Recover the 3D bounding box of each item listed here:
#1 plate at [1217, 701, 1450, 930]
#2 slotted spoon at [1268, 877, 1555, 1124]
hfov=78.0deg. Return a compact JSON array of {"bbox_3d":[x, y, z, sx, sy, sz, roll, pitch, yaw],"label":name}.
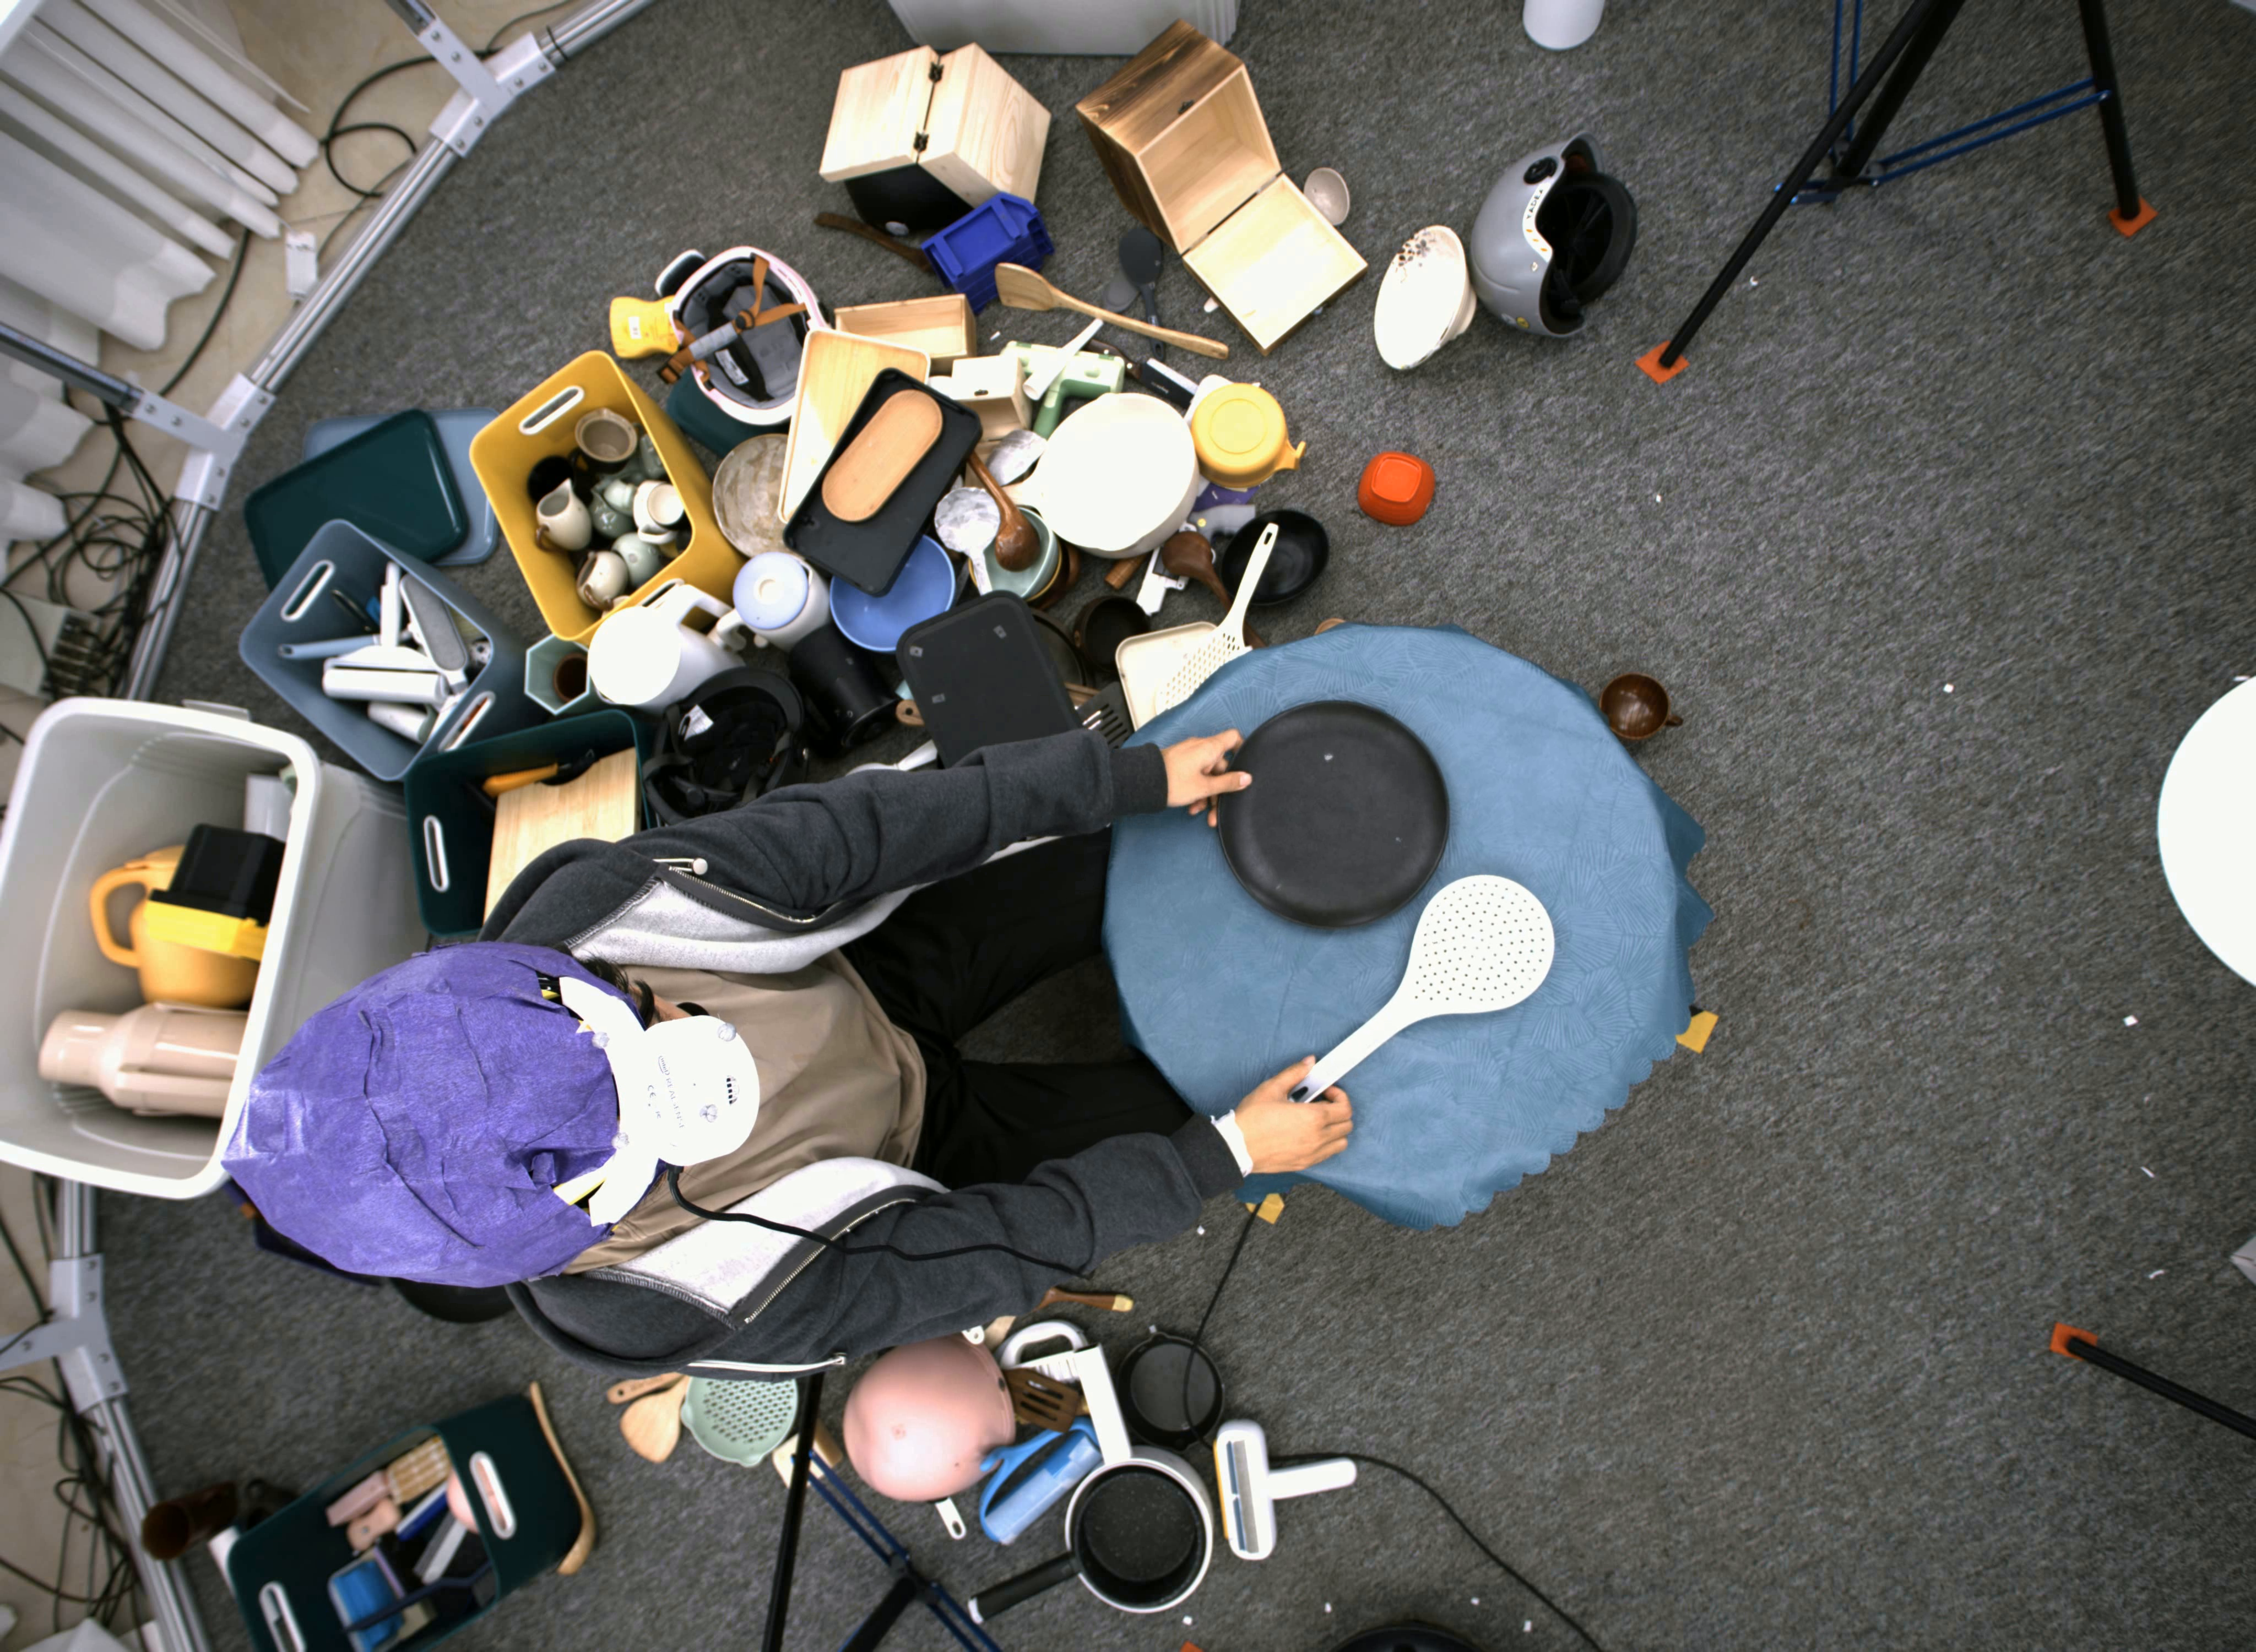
[{"bbox_3d":[0.216,-0.012,1.460,0.245,0.023,0.243,-1,88,9],"label":"plate"},{"bbox_3d":[0.285,0.189,1.427,0.351,0.045,0.135,-41,83,6],"label":"slotted spoon"}]
